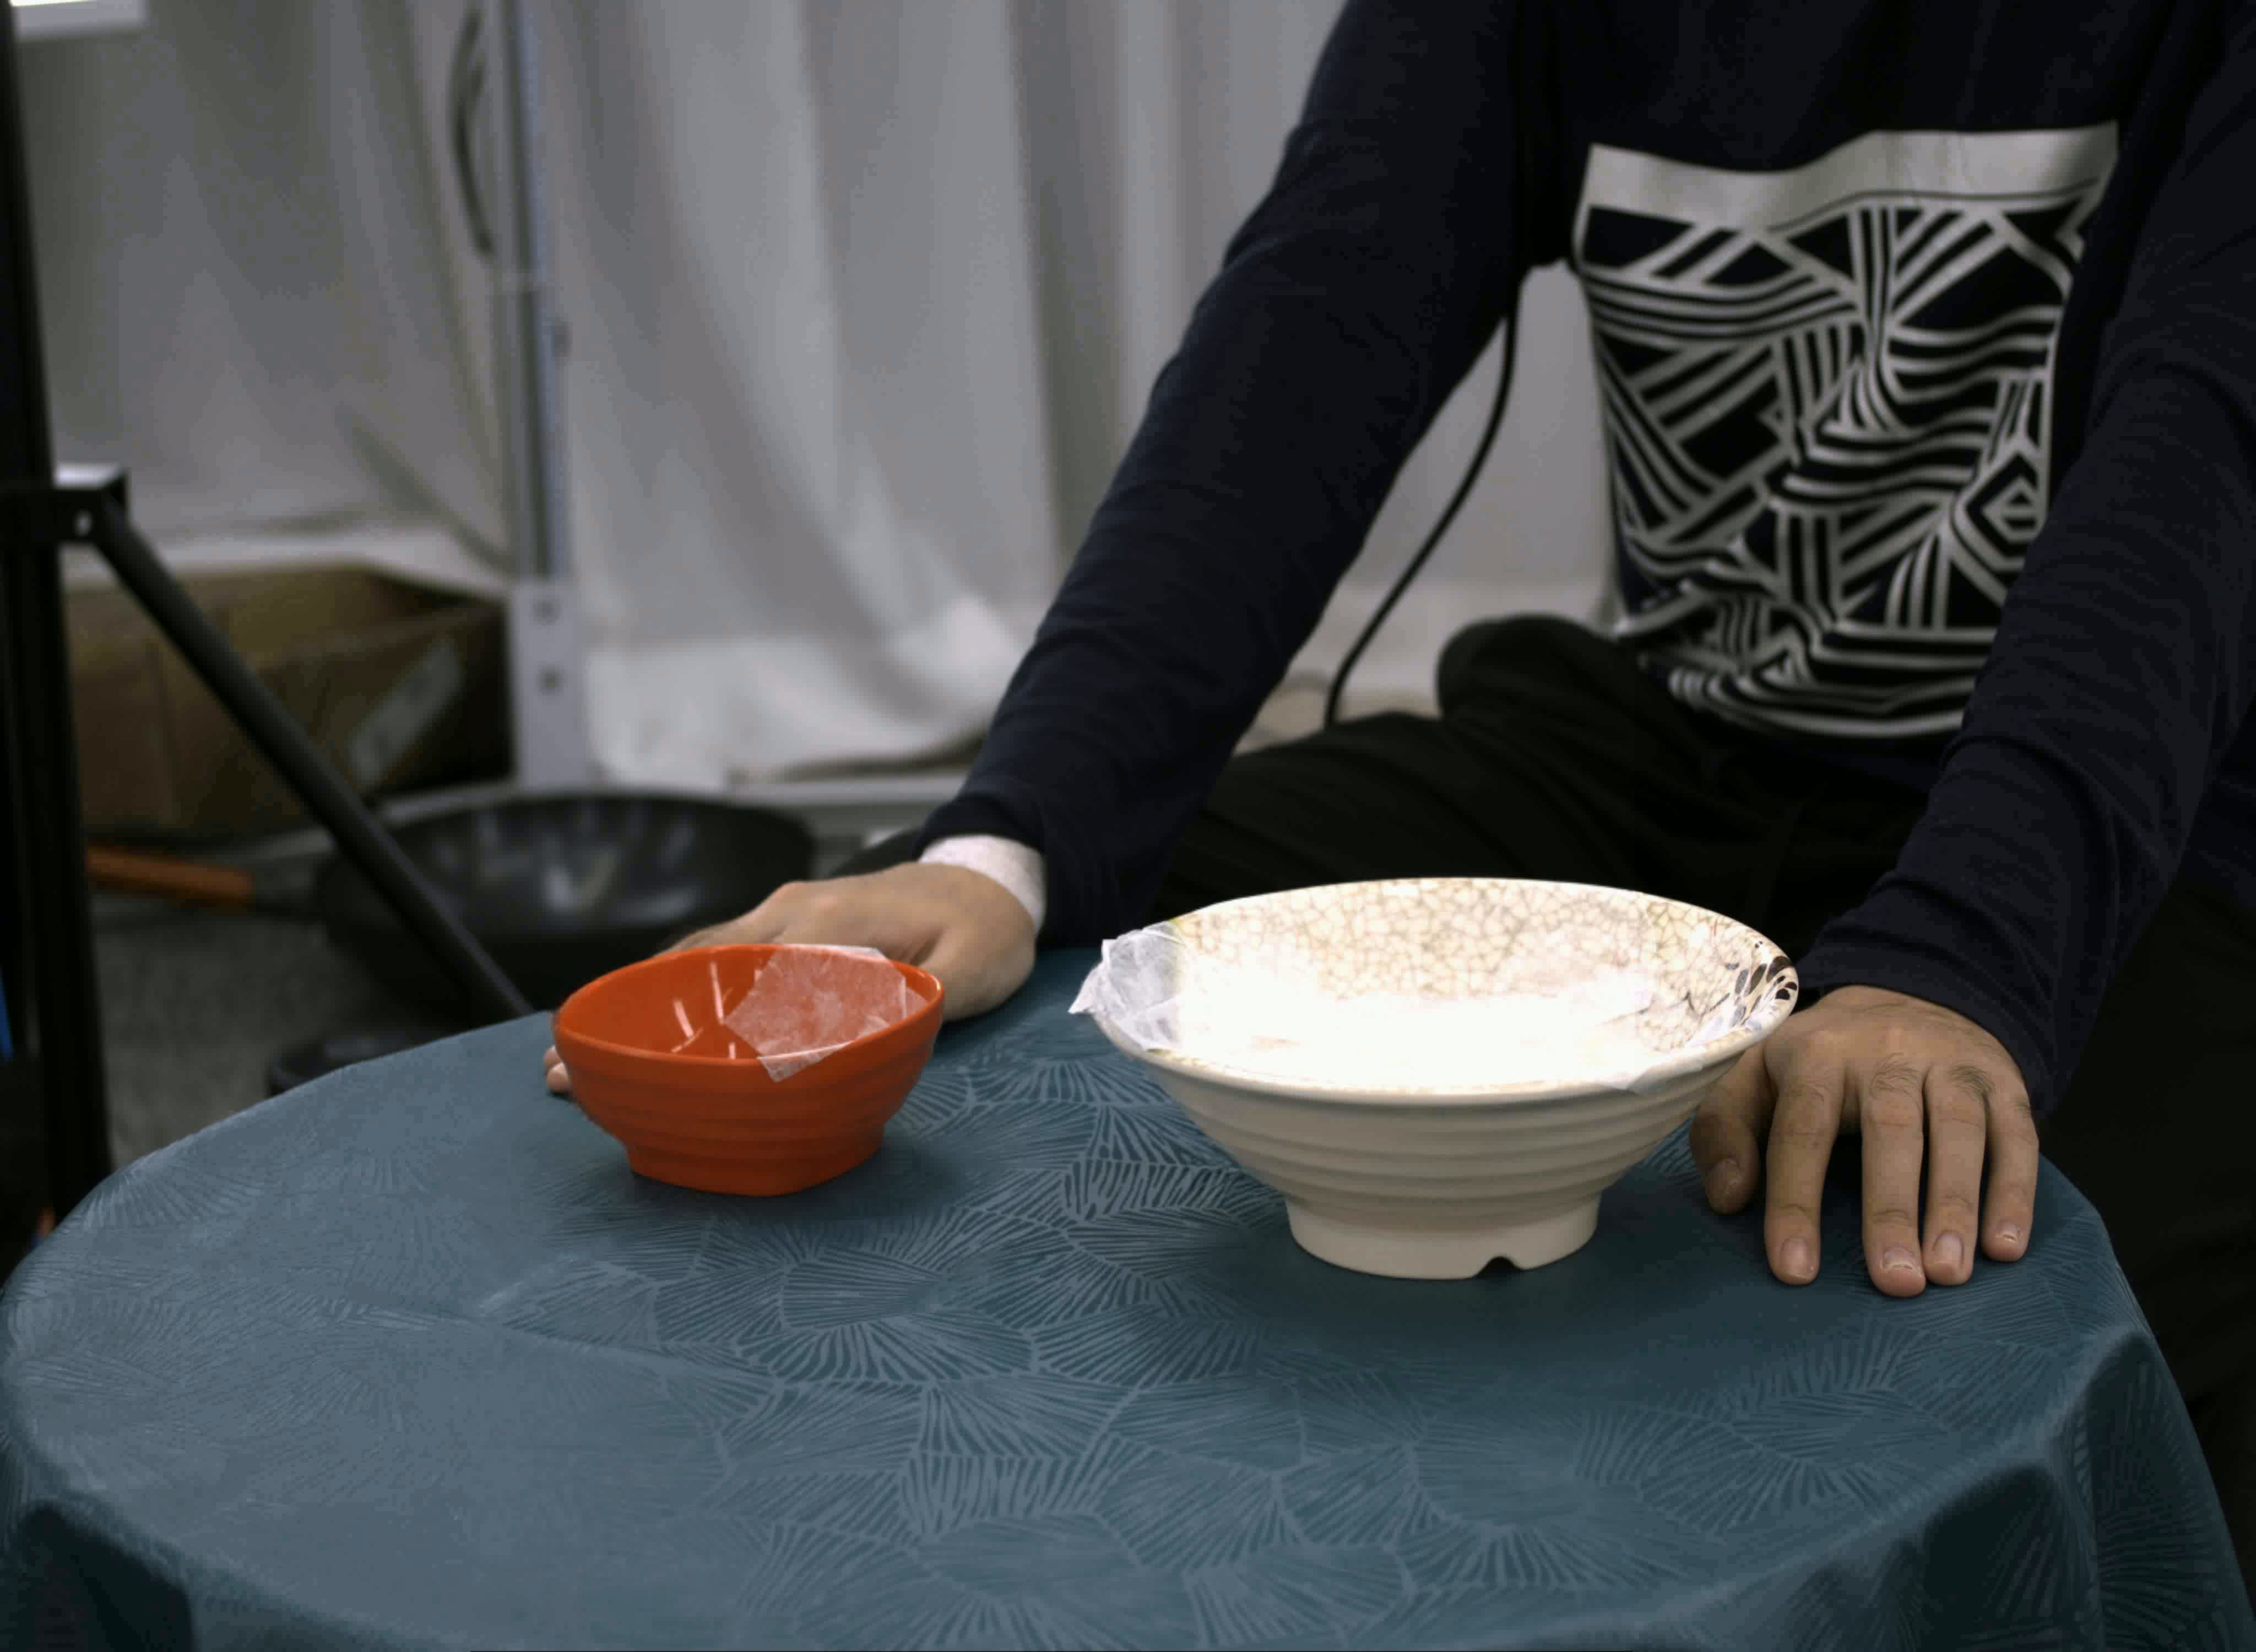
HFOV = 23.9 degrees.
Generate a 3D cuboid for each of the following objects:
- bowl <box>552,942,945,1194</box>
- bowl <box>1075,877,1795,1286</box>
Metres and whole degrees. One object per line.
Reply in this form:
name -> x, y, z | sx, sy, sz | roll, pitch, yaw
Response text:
bowl -> -0.112, 0.075, 1.602 | 0.118, 0.051, 0.119 | -4, 15, 0
bowl -> 0.087, 0.080, 1.511 | 0.203, 0.078, 0.205 | -2, 15, -1
